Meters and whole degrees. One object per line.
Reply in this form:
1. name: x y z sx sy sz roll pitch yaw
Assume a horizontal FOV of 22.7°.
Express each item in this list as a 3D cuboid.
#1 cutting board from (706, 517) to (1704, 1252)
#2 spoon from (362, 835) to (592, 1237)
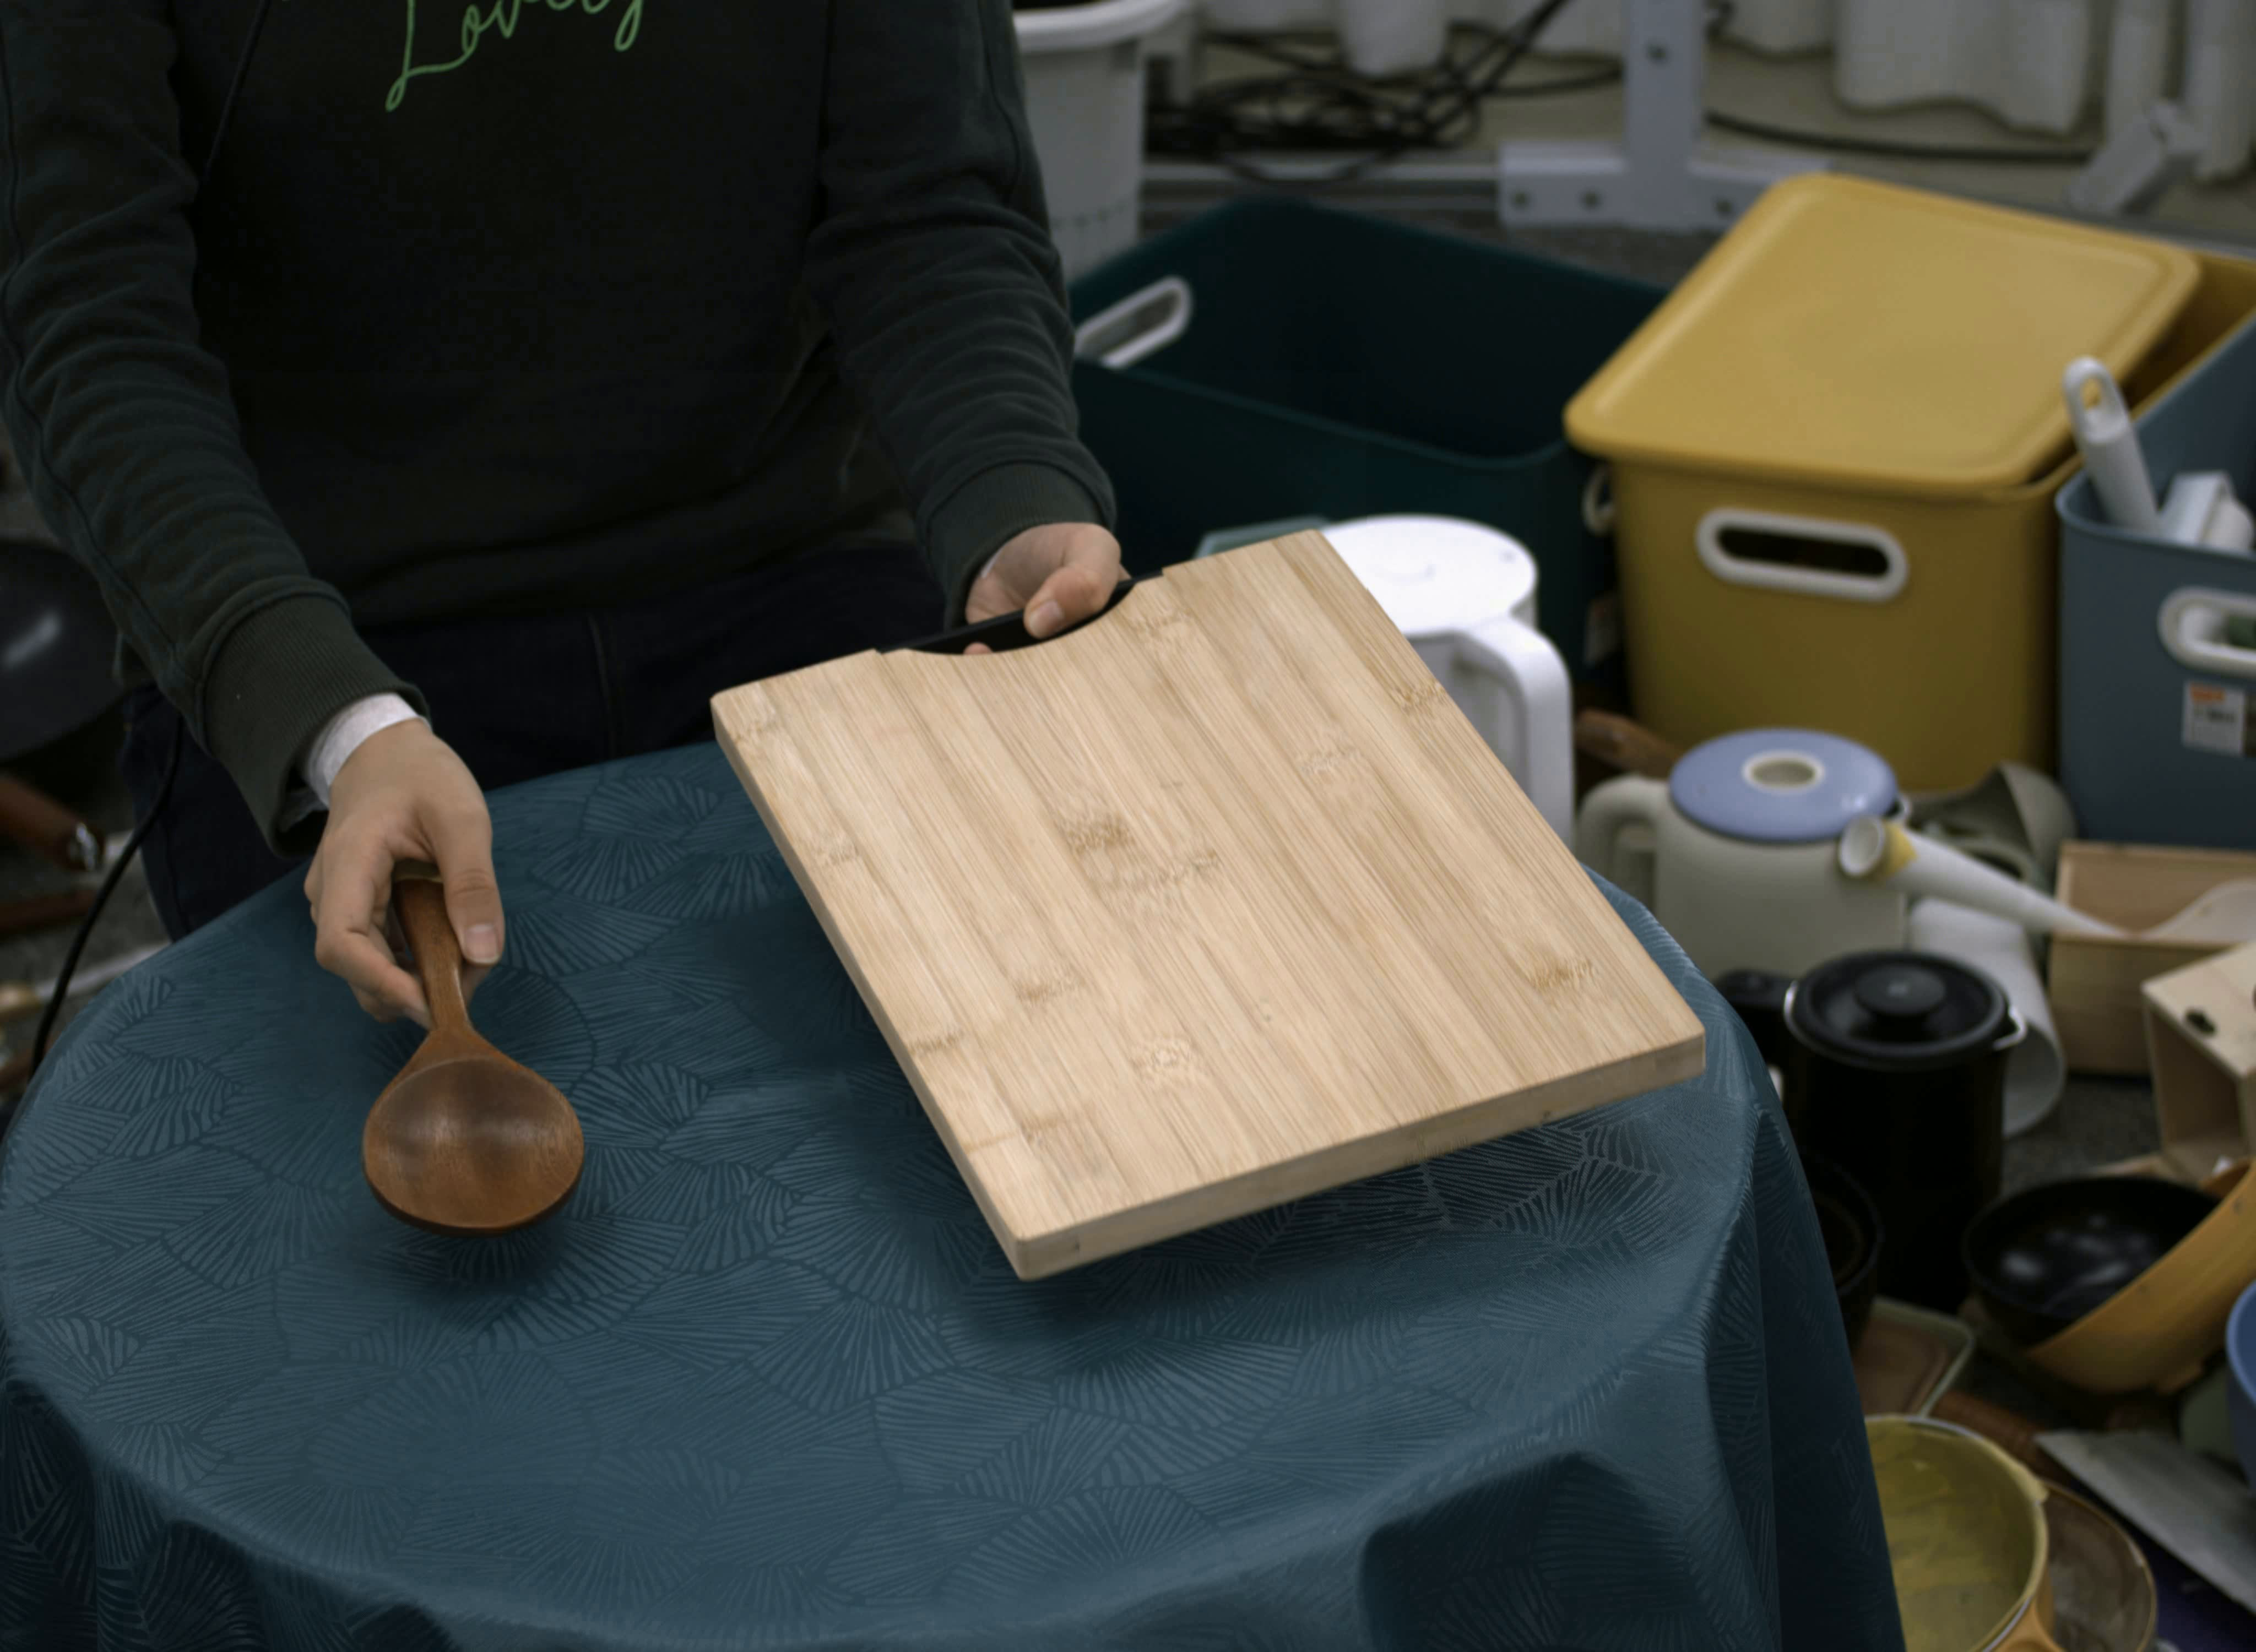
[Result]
1. cutting board: 0.017 0.012 1.934 0.251 0.023 0.352 -15 36 -15
2. spoon: -0.227 0.071 1.894 0.075 0.017 0.219 -7 37 -10
